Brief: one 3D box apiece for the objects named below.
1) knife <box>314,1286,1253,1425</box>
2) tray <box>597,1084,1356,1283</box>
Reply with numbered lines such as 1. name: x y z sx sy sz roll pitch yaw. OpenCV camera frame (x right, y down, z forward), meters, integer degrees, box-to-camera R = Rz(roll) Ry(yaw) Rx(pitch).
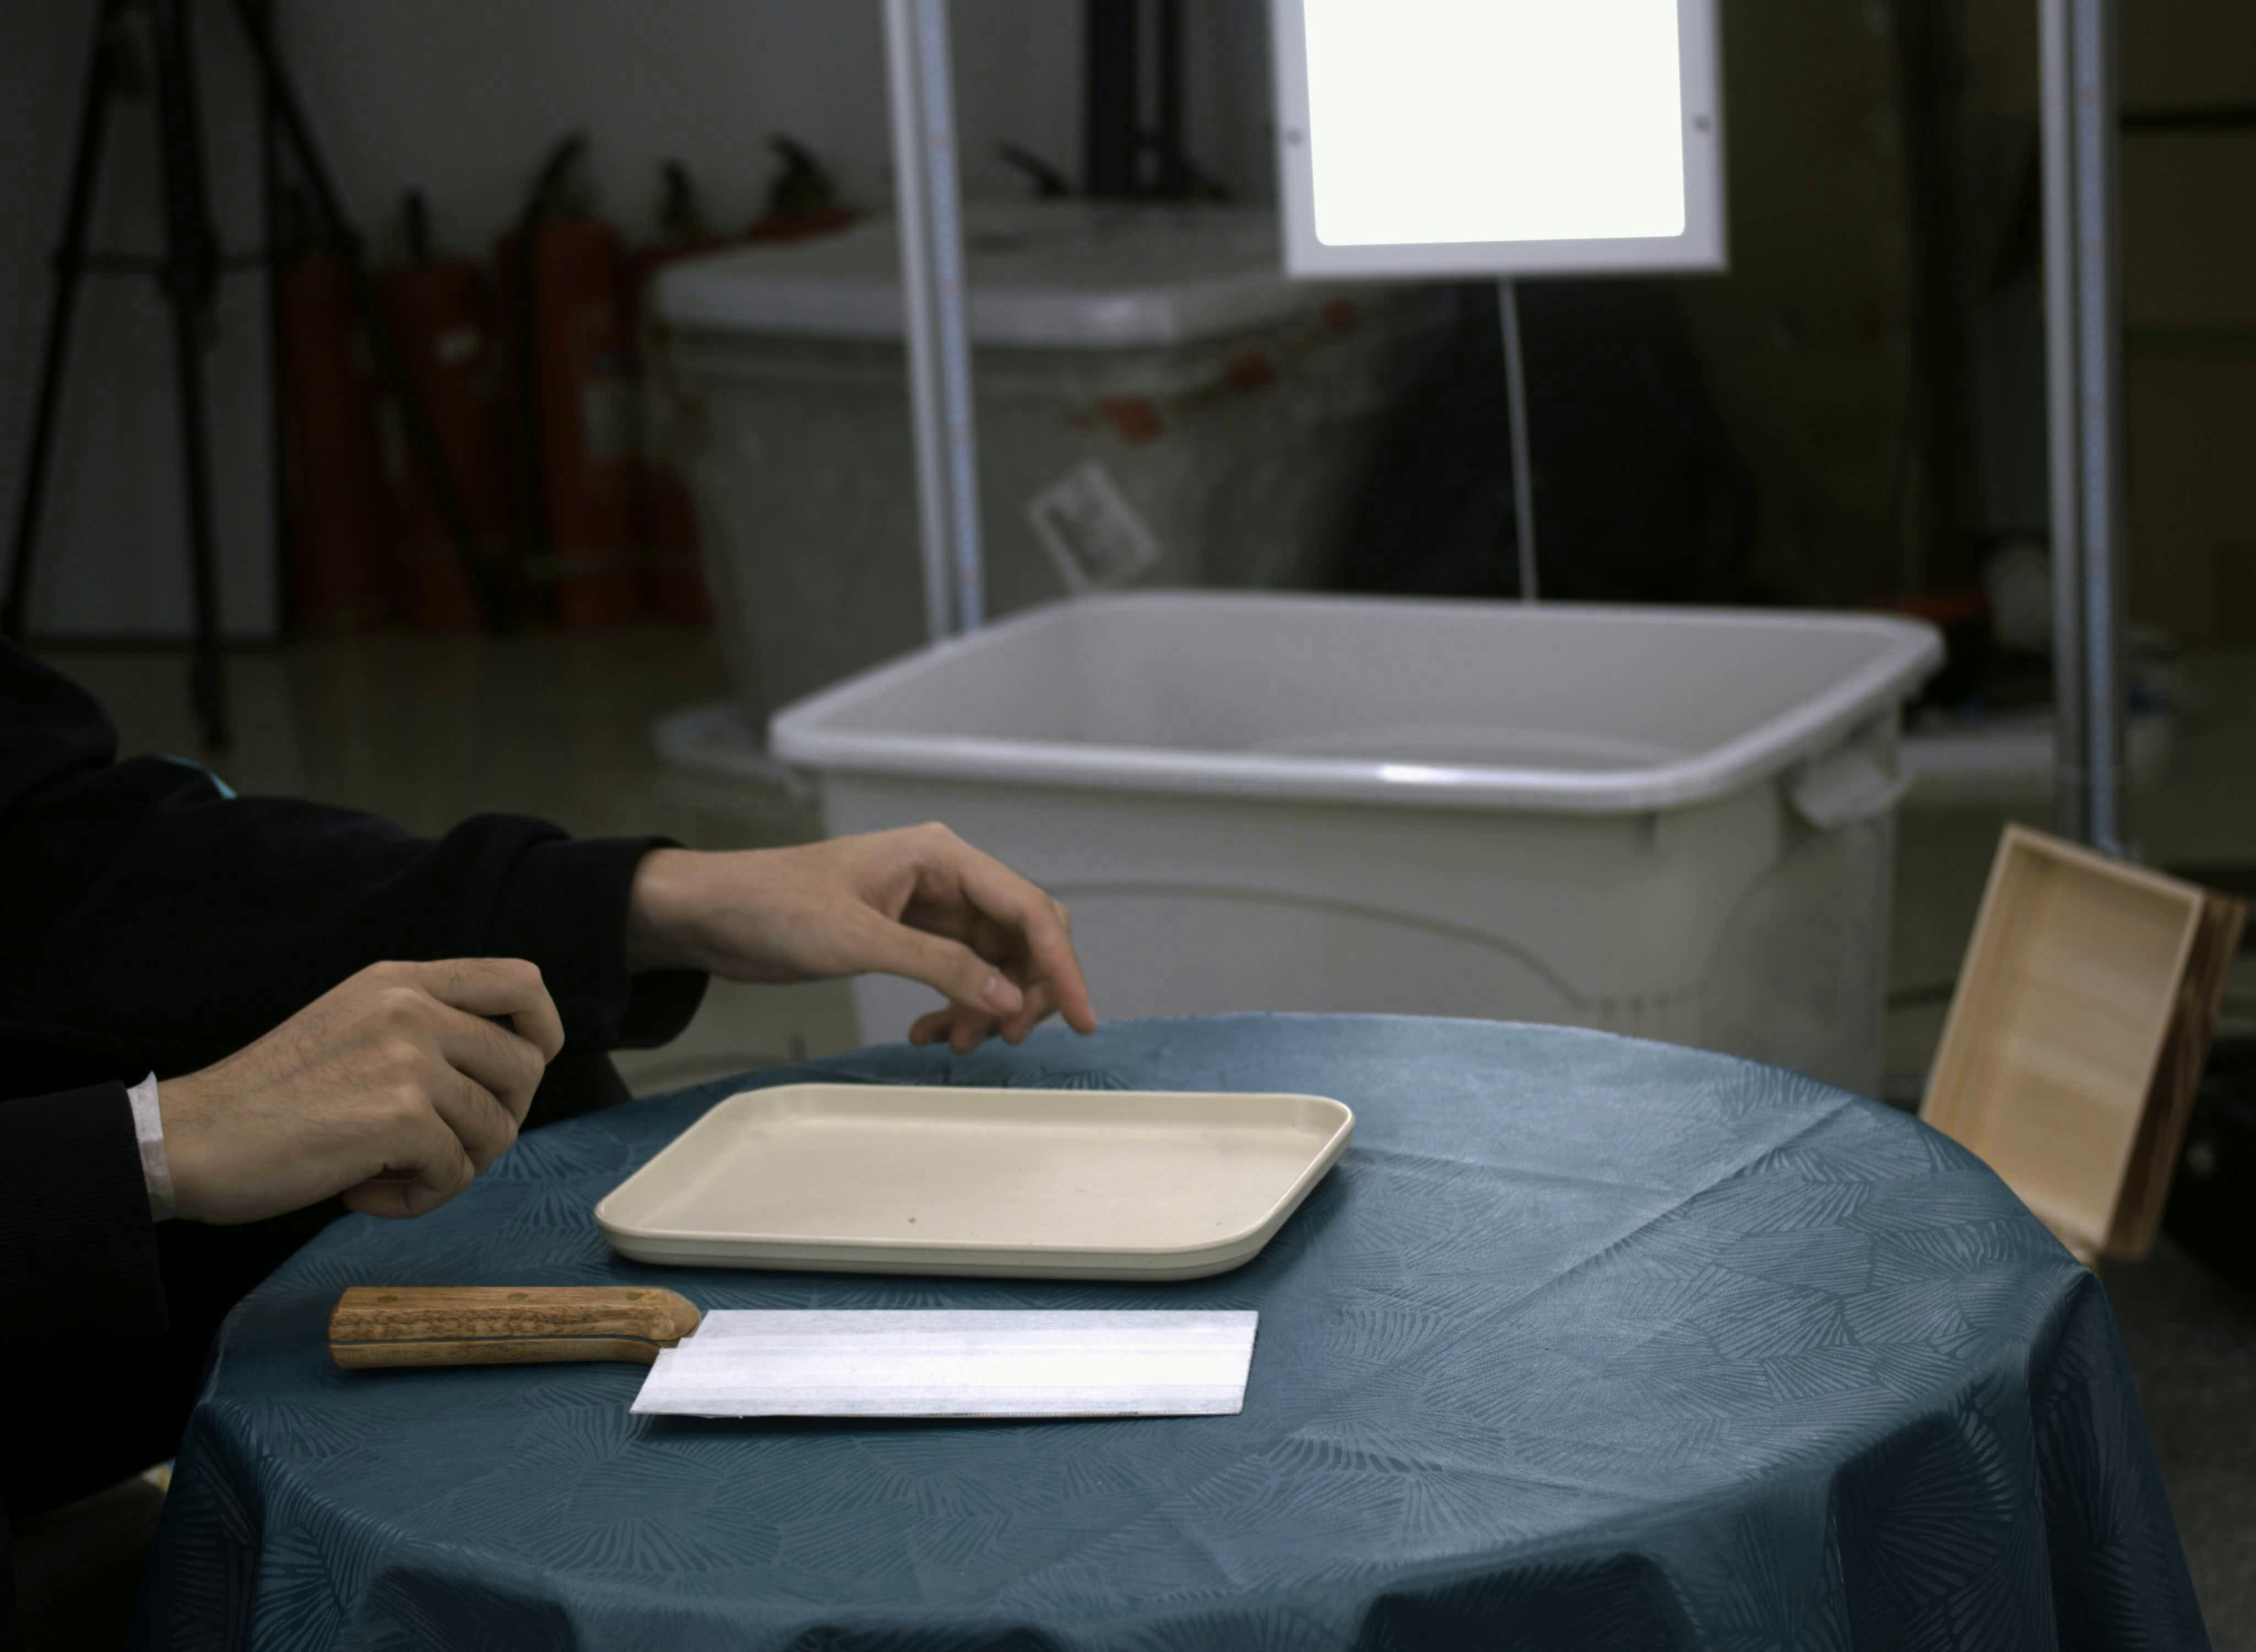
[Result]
1. knife: -0.112 0.168 1.737 0.307 0.021 0.092 -1 16 8
2. tray: -0.050 0.122 1.892 0.243 0.017 0.168 0 15 20
